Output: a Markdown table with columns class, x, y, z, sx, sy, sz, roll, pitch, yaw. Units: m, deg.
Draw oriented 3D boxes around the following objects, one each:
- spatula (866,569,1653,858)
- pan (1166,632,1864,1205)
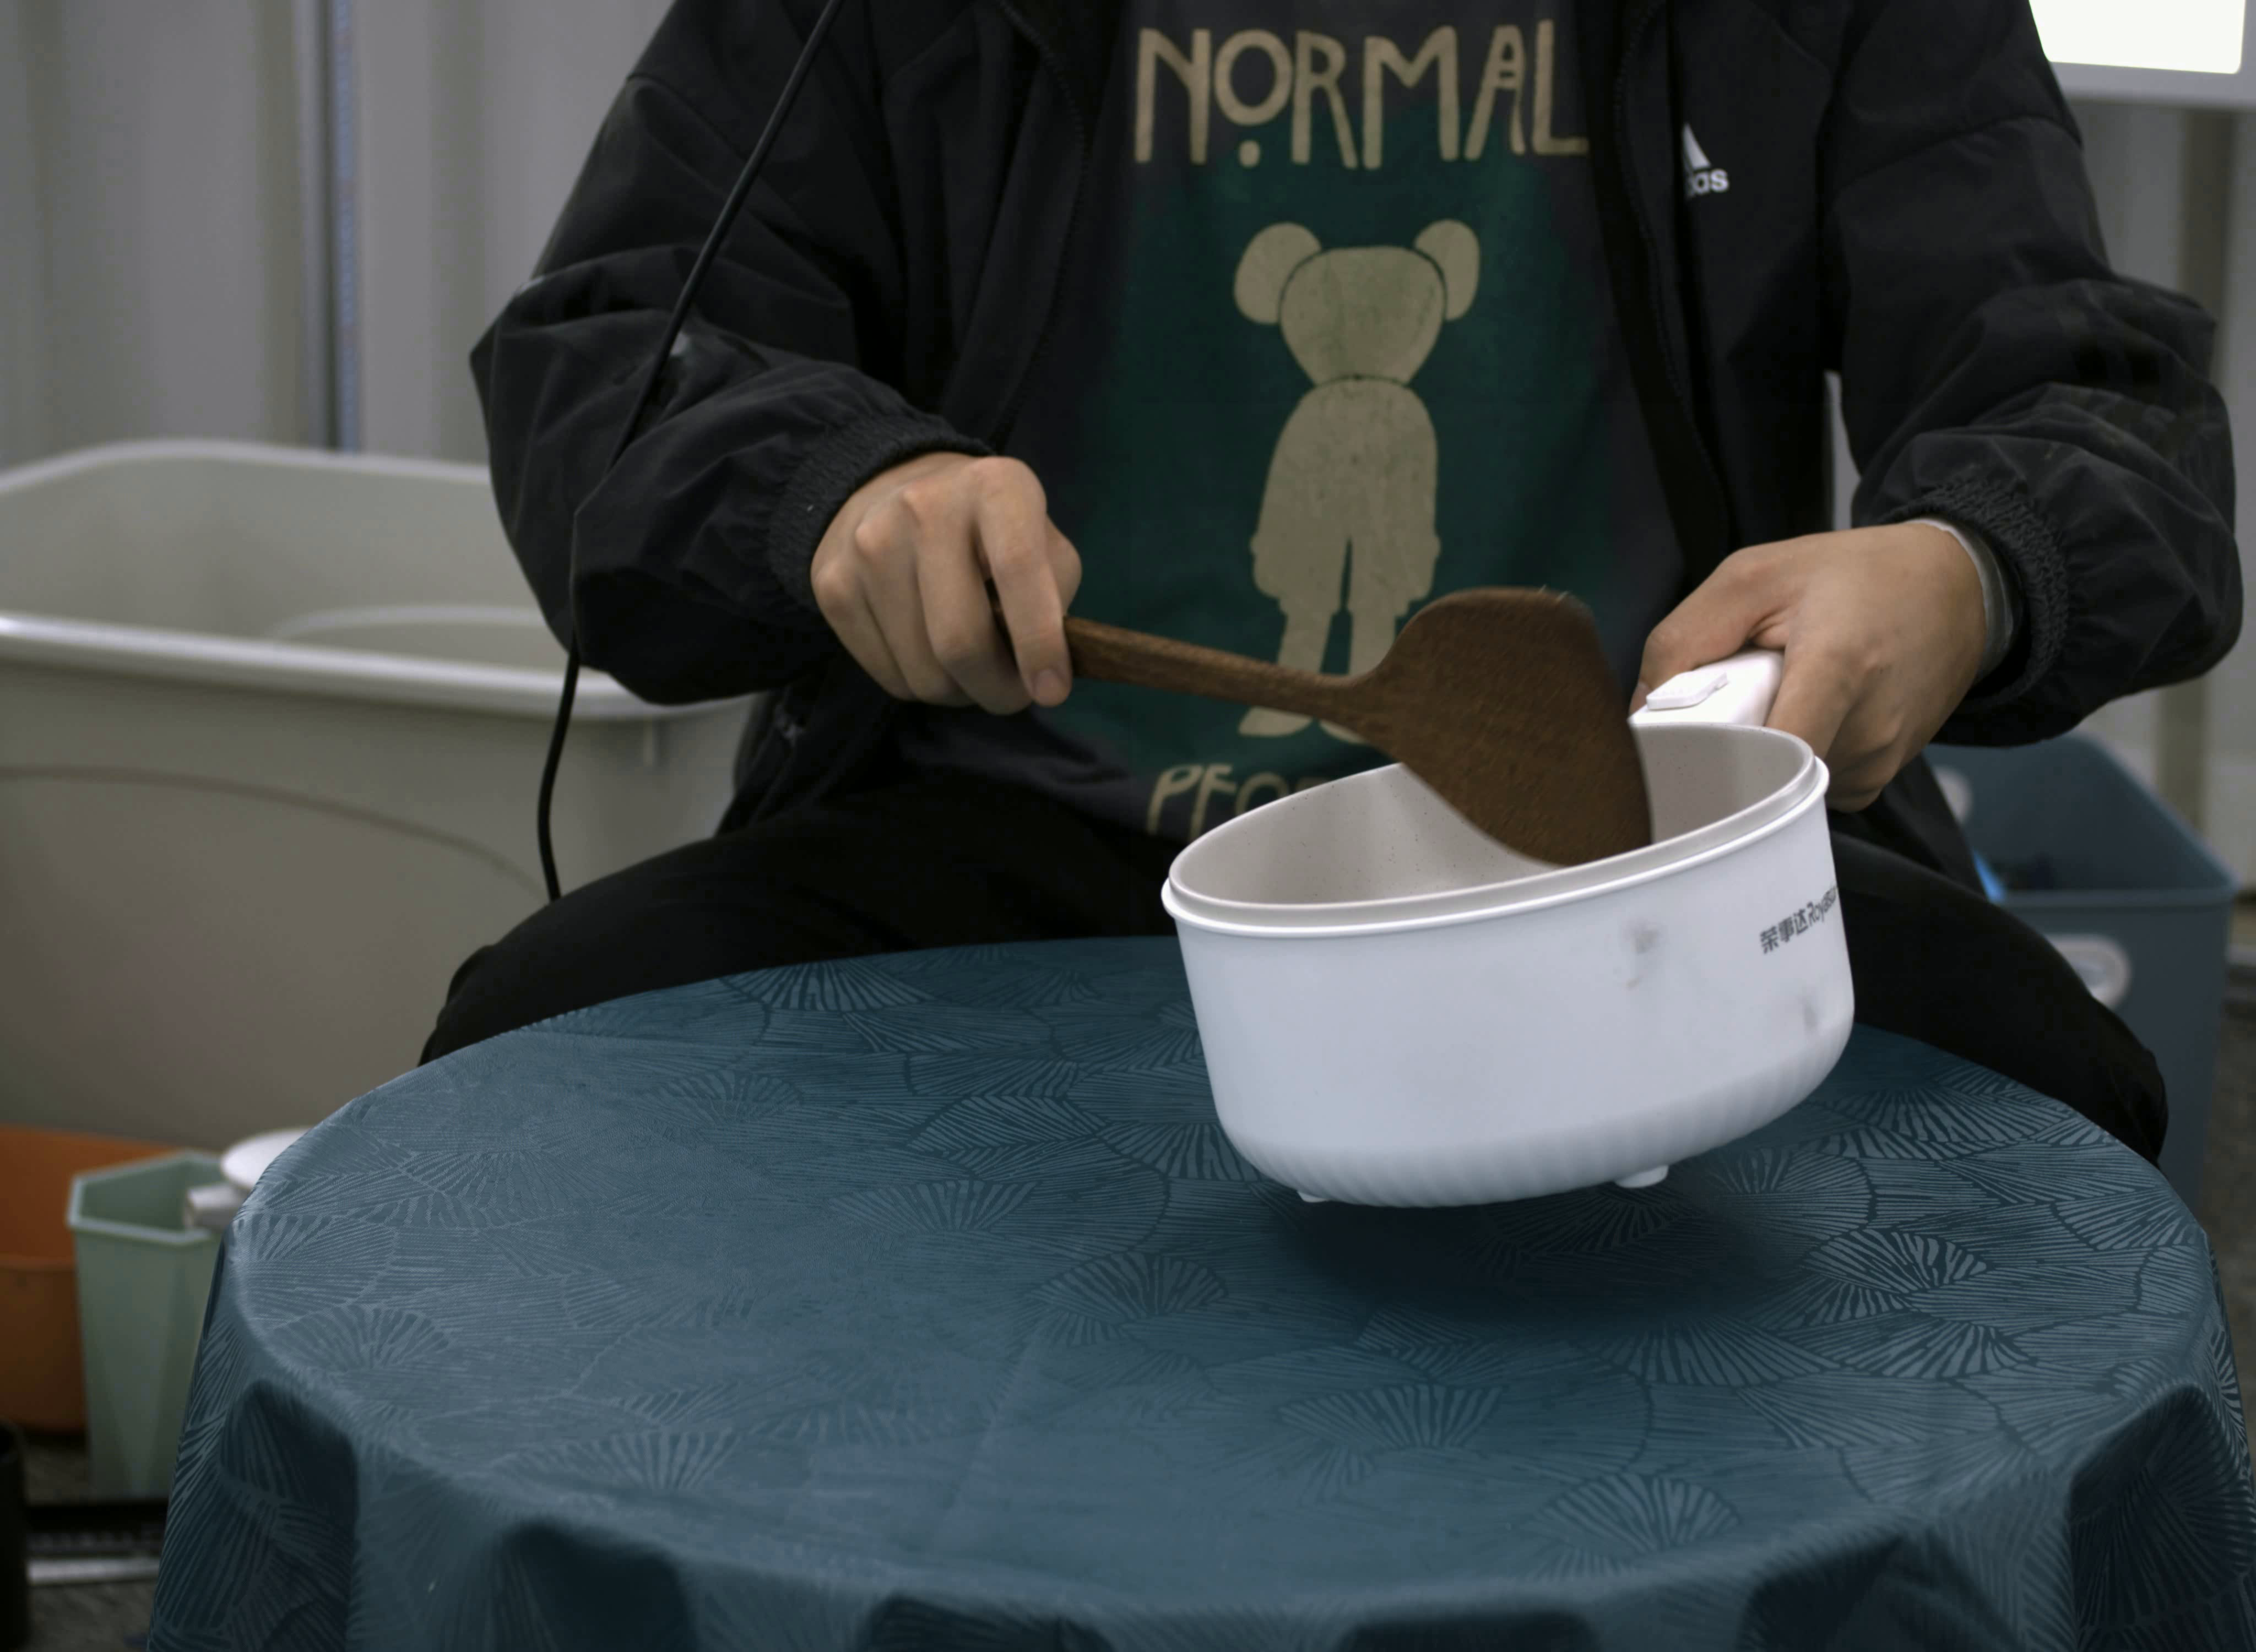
| class | x | y | z | sx | sy | sz | roll | pitch | yaw |
| --- | --- | --- | --- | --- | --- | --- | --- | --- | --- |
| spatula | 0.031 | -0.052 | 1.695 | 0.016 | 0.097 | 0.381 | -31 | 26 | -31 |
| pan | 0.153 | 0.025 | 1.635 | 0.199 | 0.103 | 0.355 | -5 | 12 | 29 |
